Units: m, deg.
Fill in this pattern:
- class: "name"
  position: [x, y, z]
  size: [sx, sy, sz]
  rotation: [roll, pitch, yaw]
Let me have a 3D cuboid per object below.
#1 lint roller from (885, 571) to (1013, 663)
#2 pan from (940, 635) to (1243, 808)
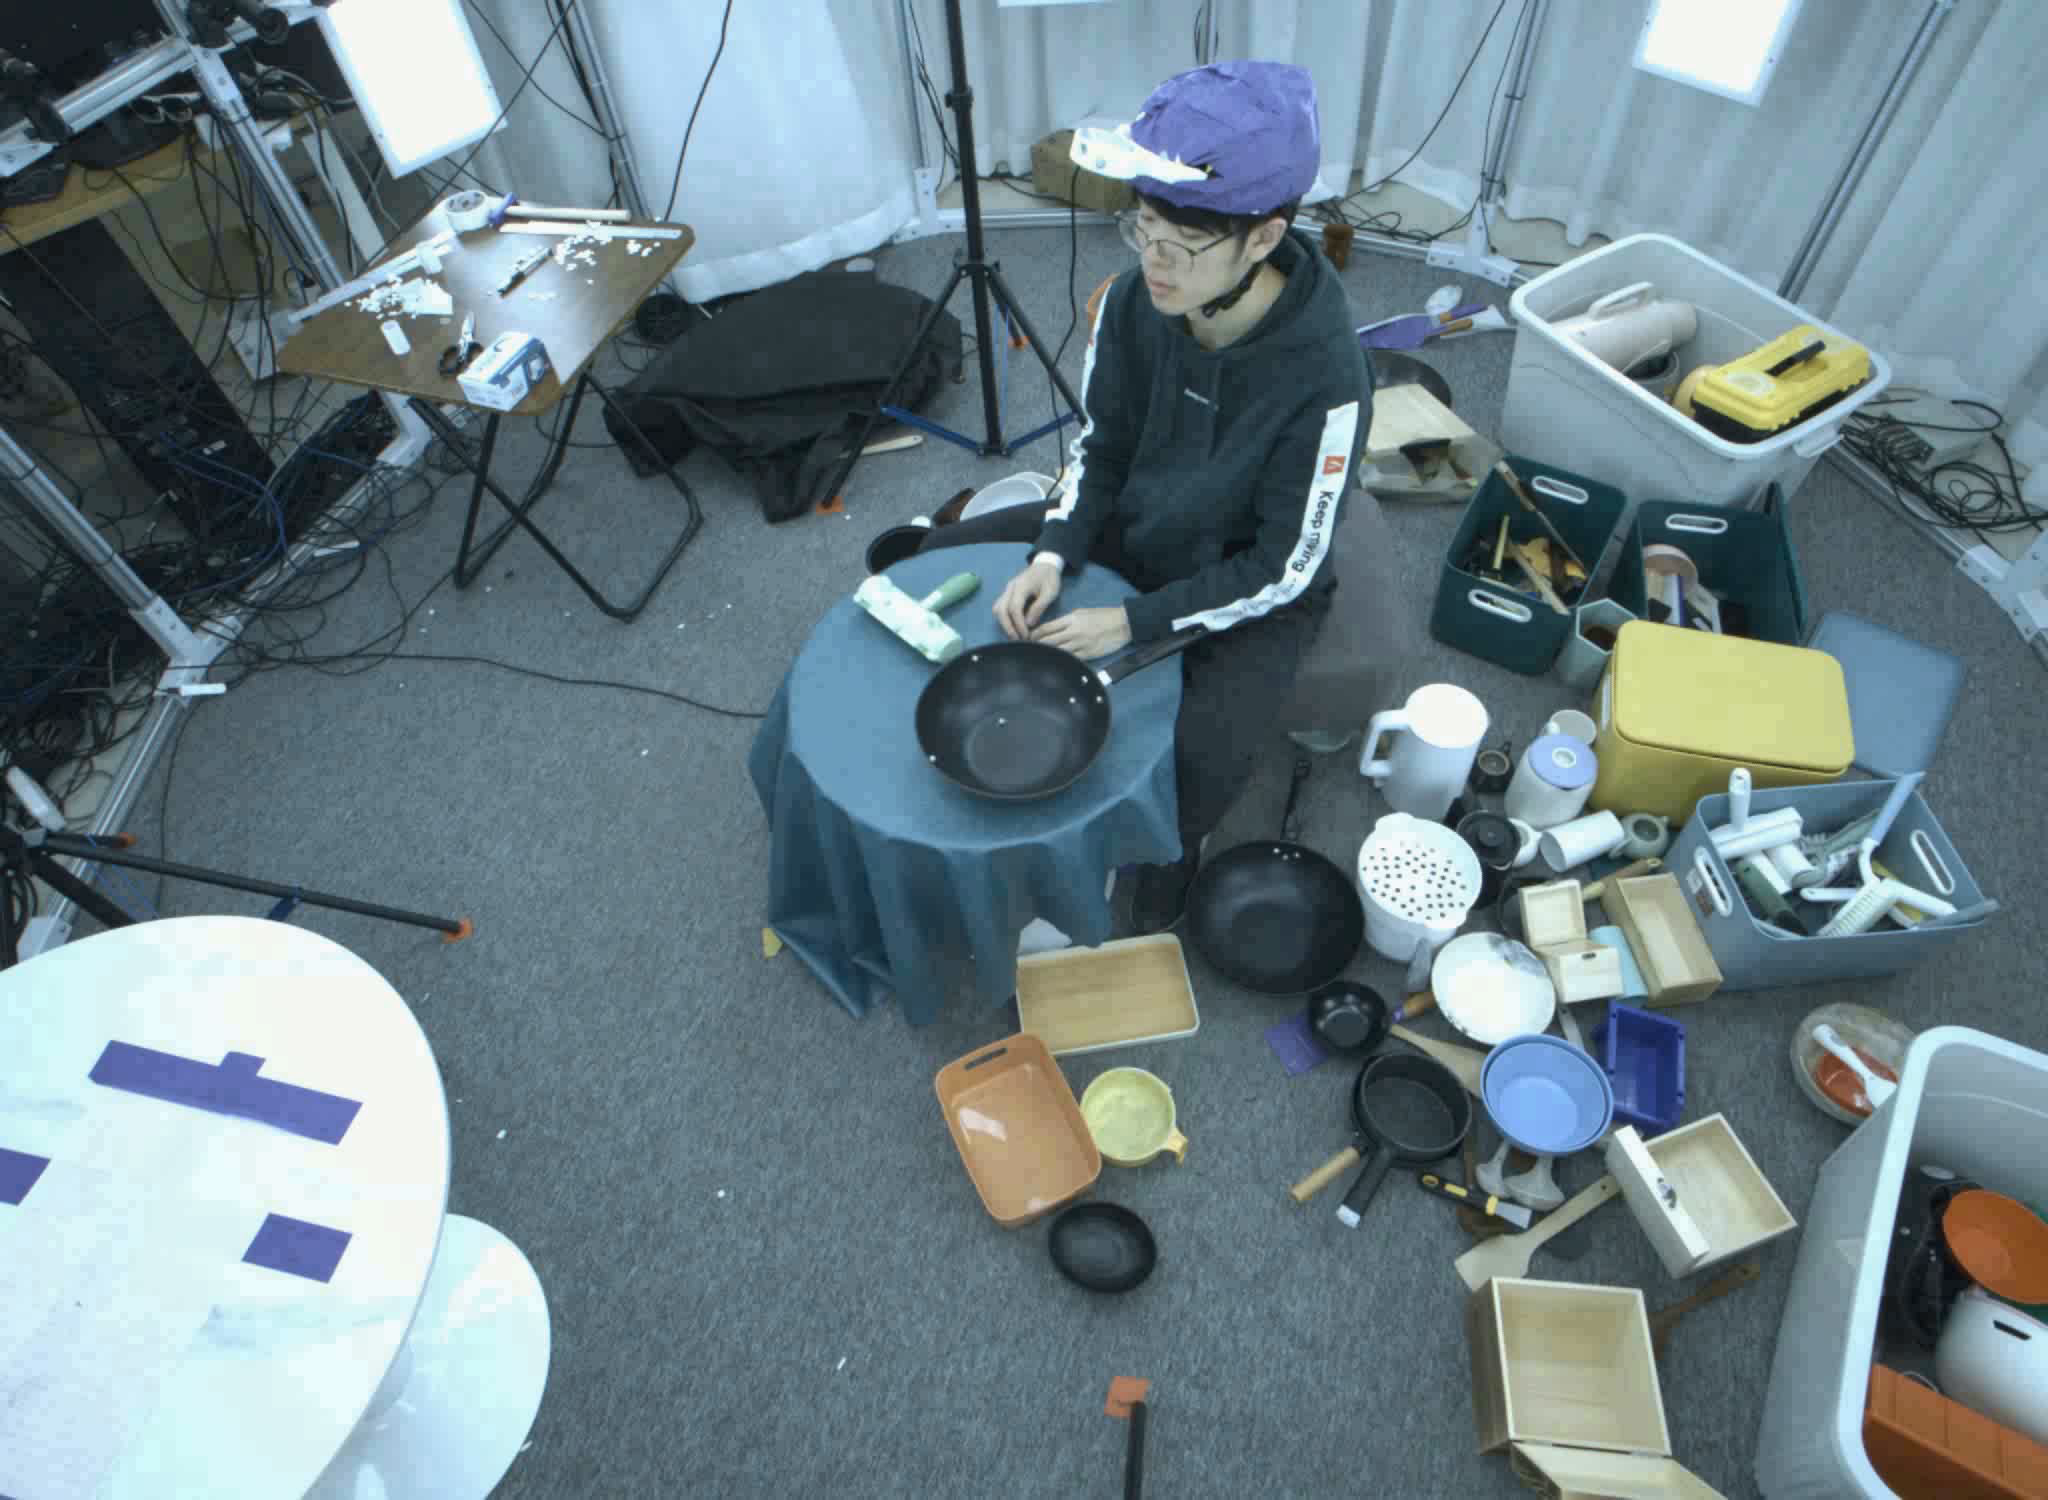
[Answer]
- class: "lint roller"
  position: [-0.091, -0.242, 1.912]
  size: [0.184, 0.083, 0.195]
  rotation: [-41, 62, -18]
- class: "pan"
  position: [0.106, -0.058, 1.770]
  size: [0.467, 0.088, 0.283]
  rotation: [-23, 58, -15]
